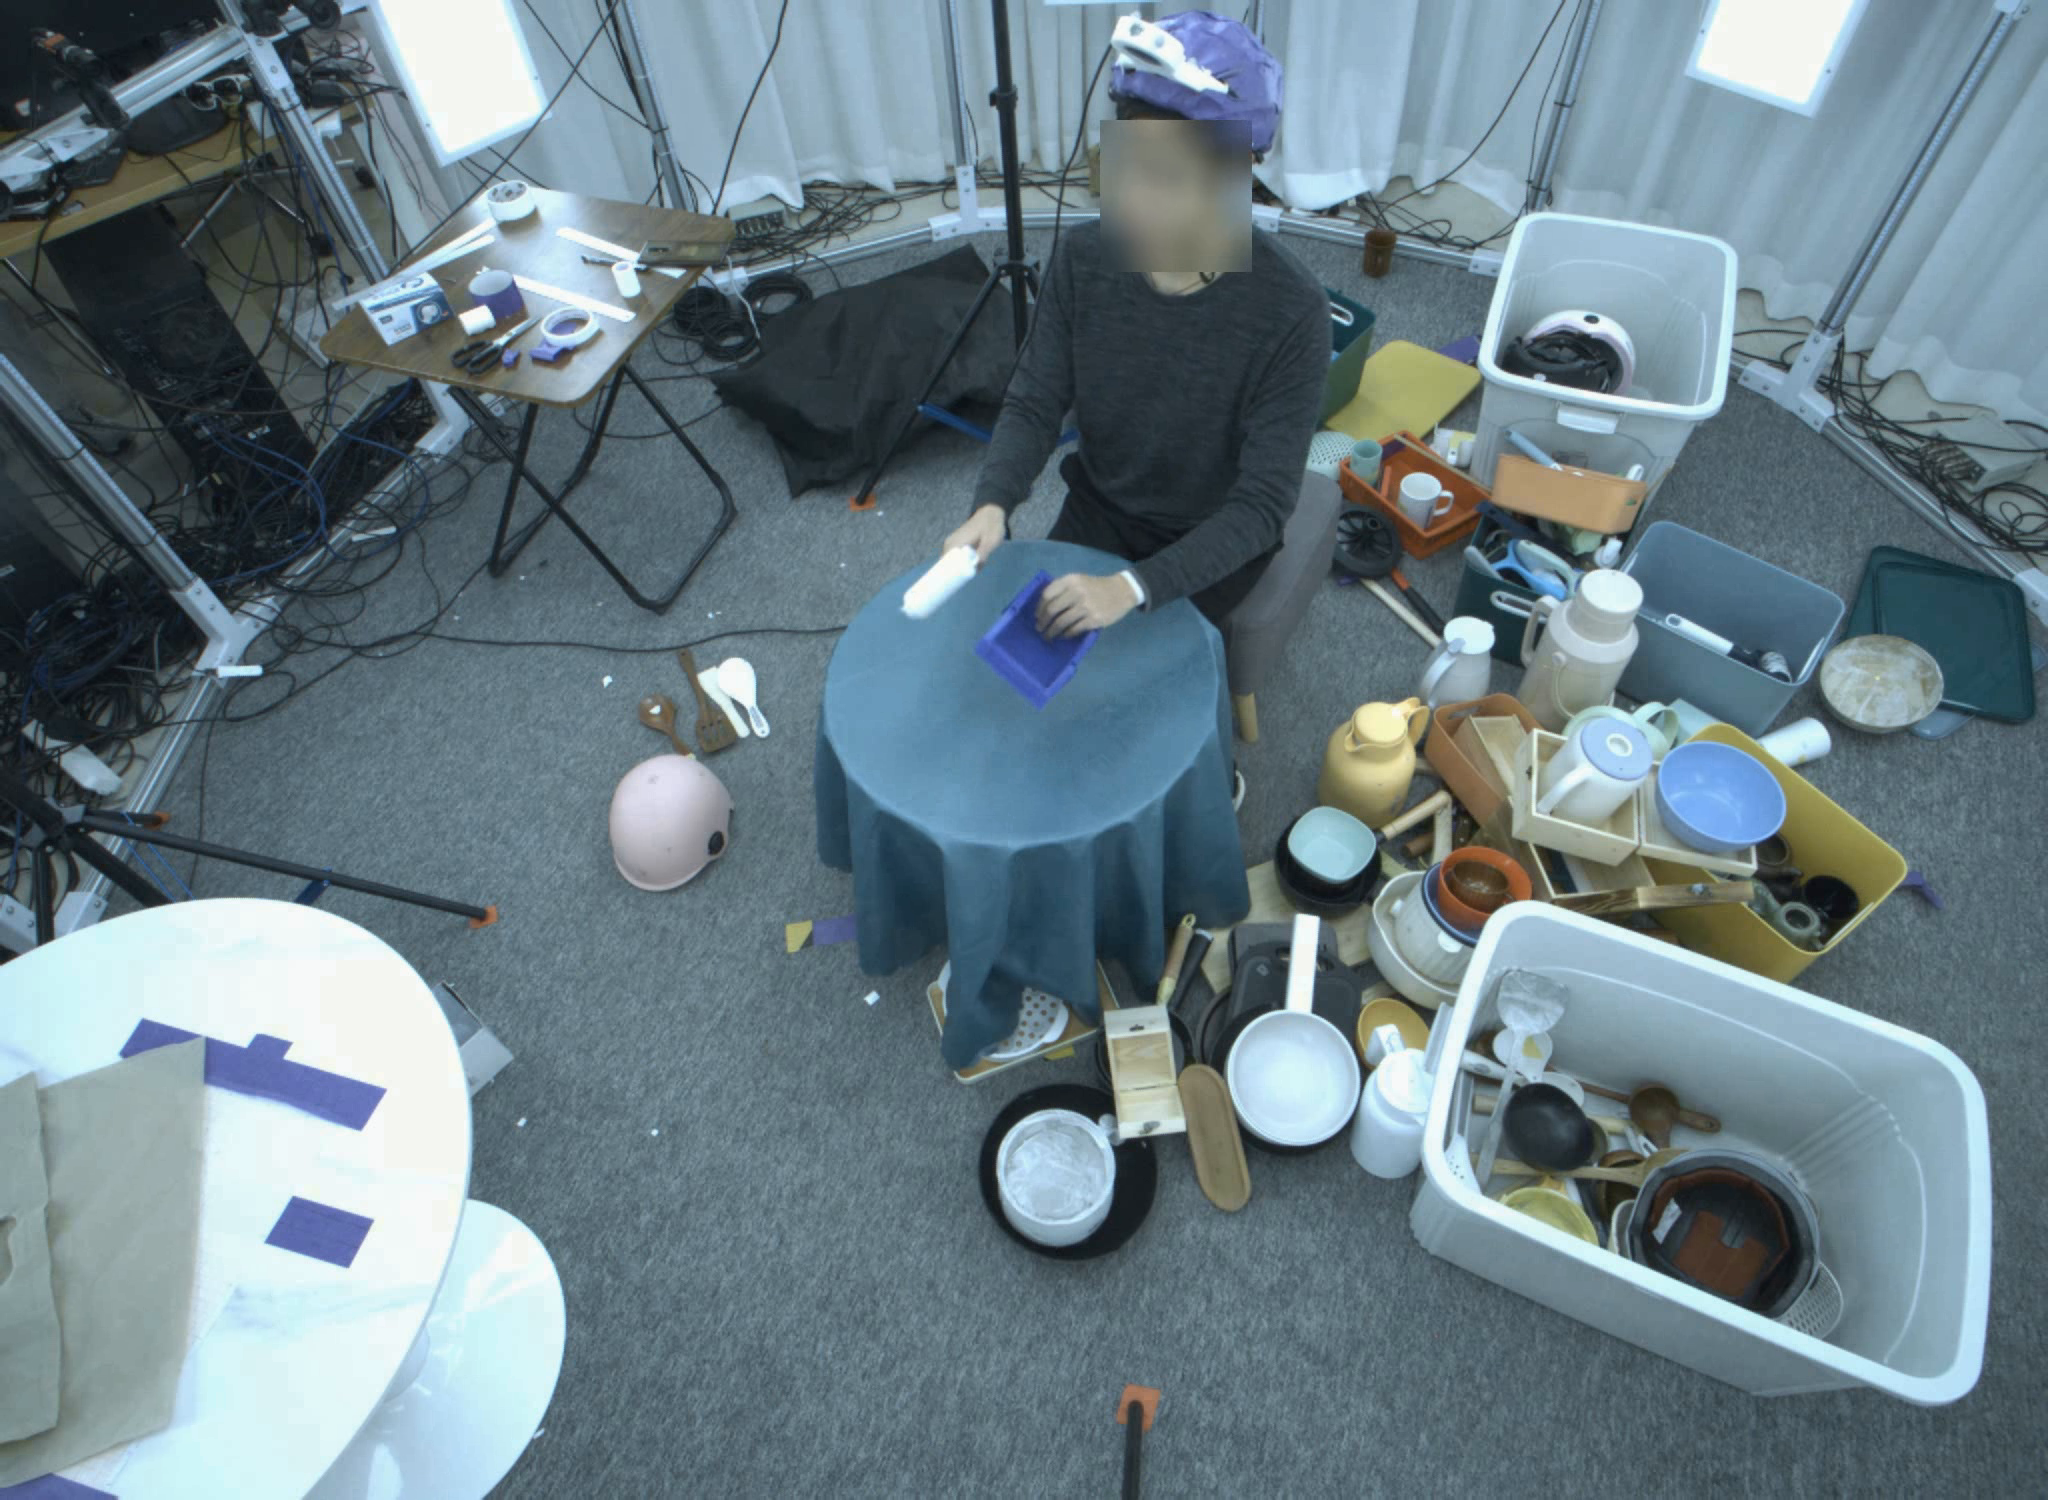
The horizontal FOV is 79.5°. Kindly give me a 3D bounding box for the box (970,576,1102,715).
[{"bbox_3d":[0.016,-0.139,1.672,0.125,0.081,0.179,43,34,-8],"label":"box"}]

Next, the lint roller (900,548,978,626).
[{"bbox_3d":[-0.108,-0.257,1.751,0.051,0.131,0.180,41,37,-17],"label":"lint roller"}]
